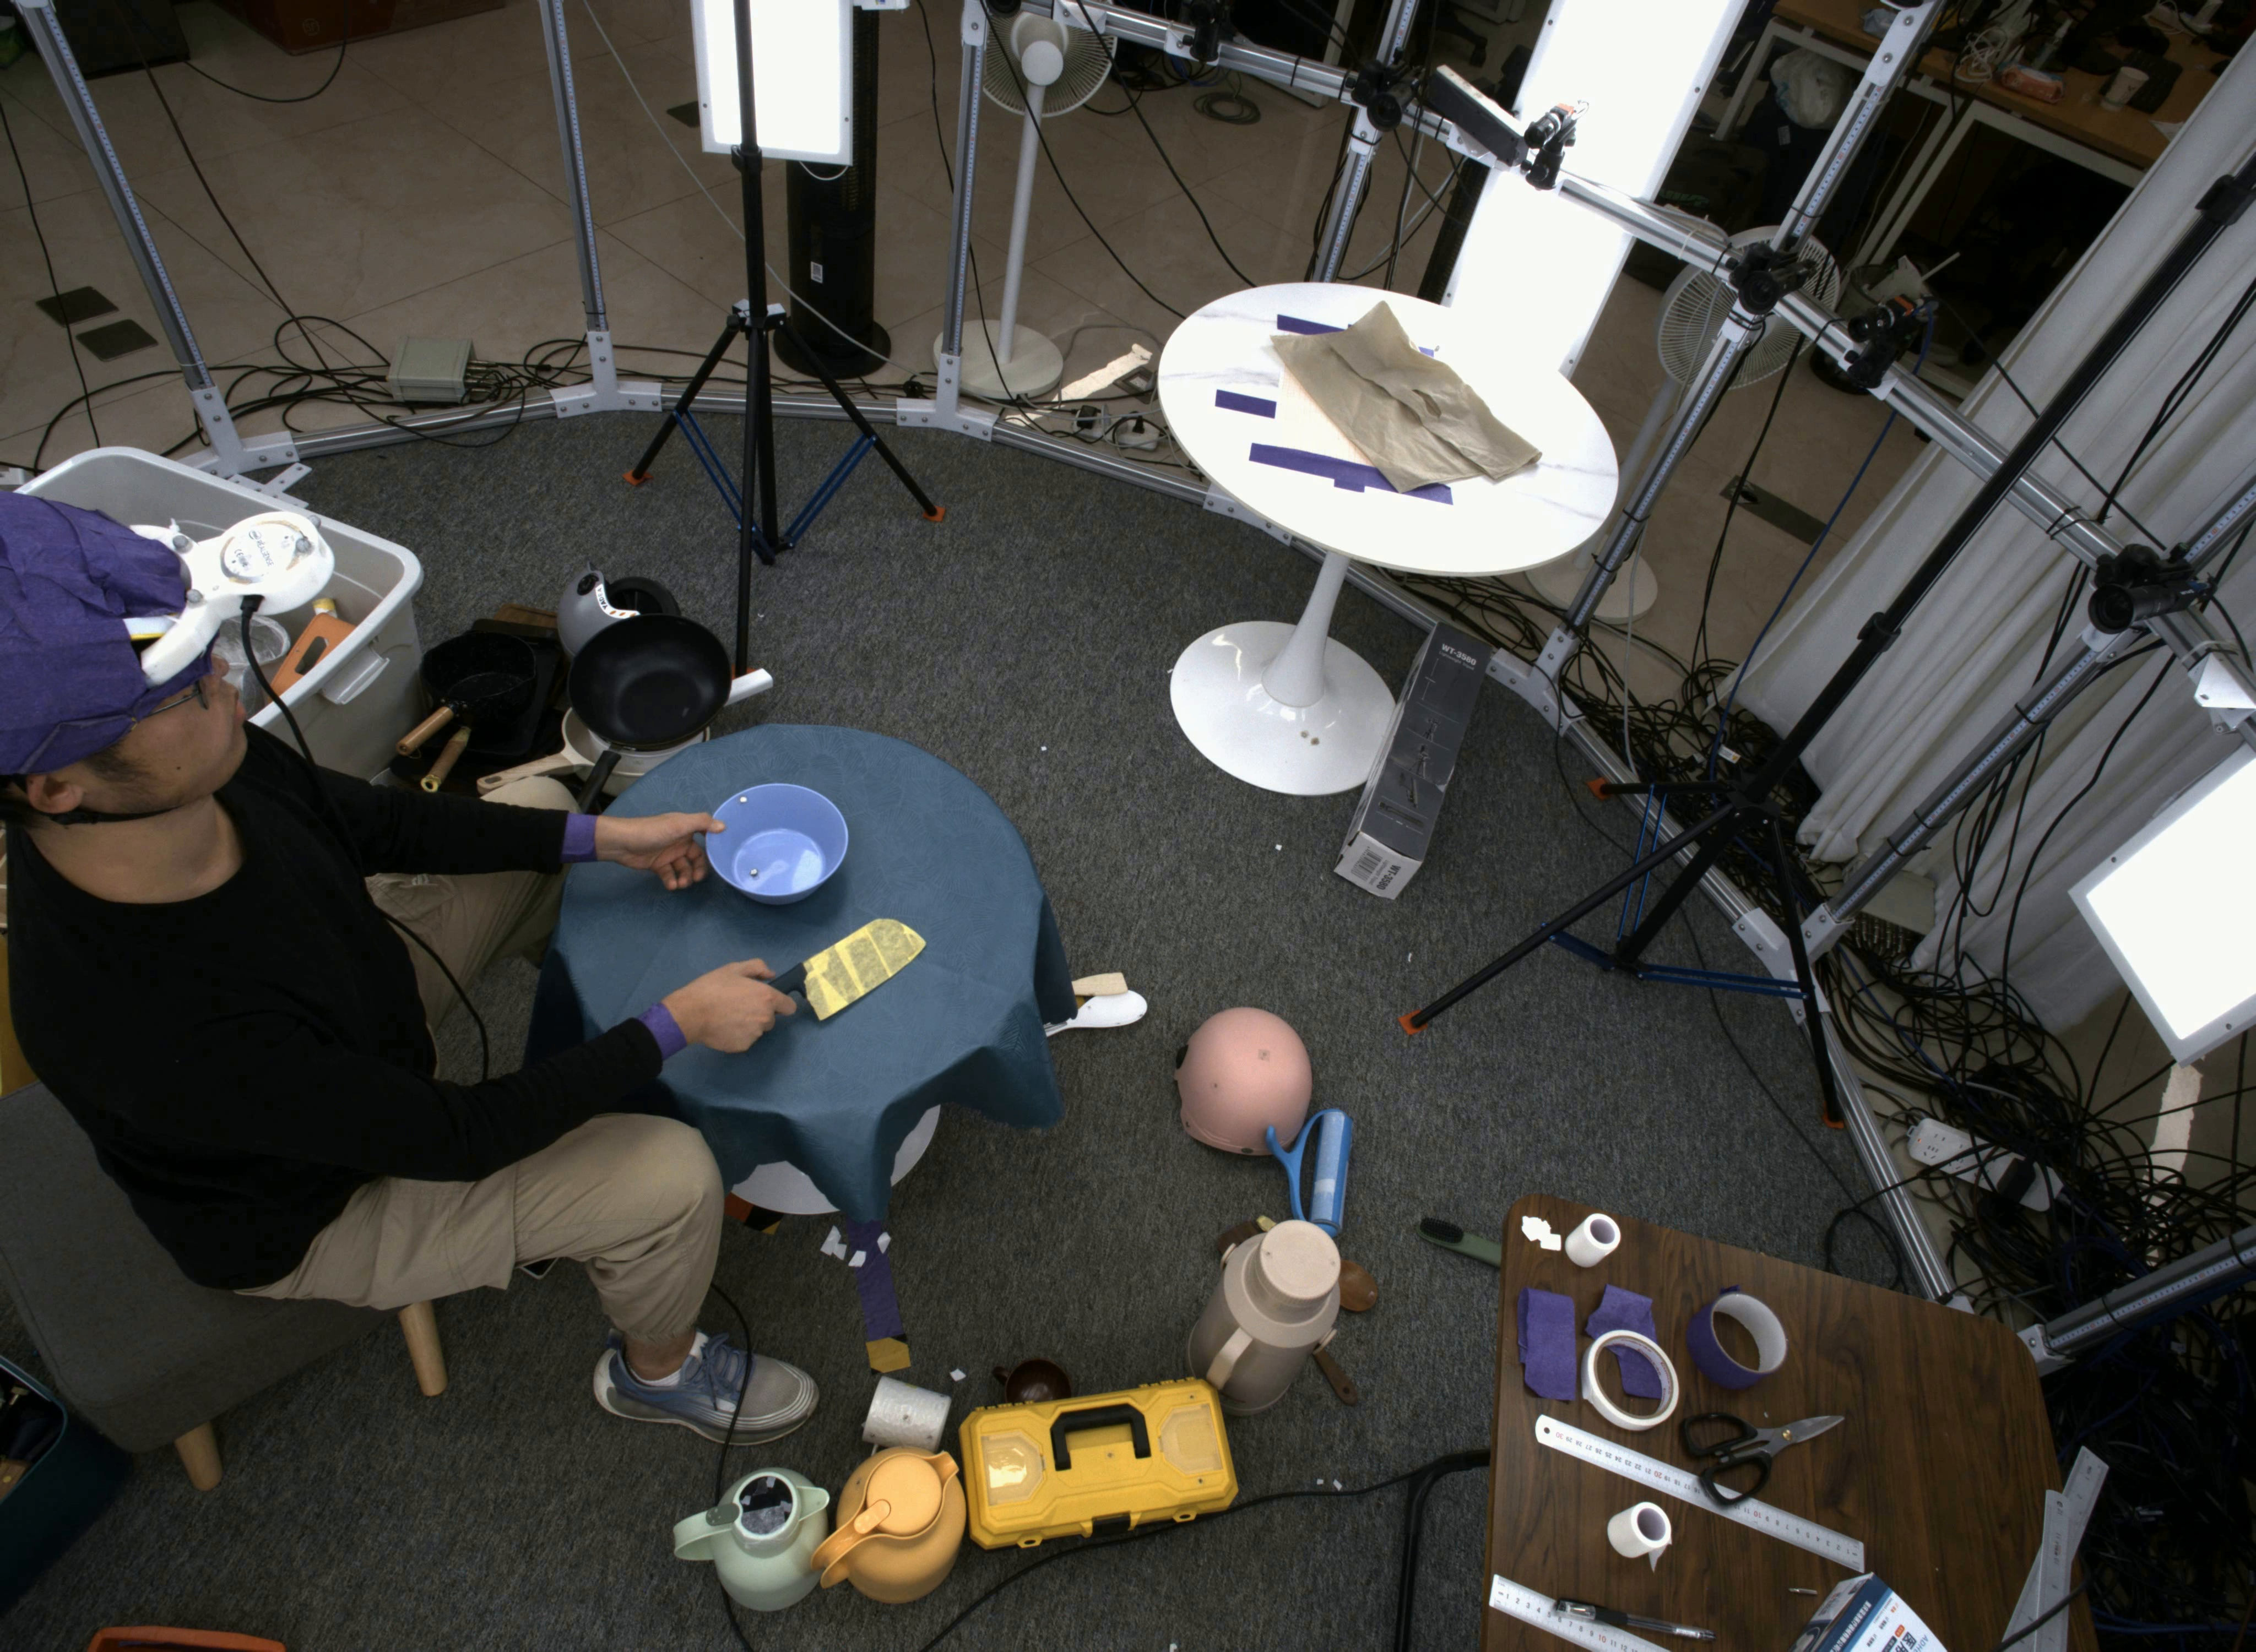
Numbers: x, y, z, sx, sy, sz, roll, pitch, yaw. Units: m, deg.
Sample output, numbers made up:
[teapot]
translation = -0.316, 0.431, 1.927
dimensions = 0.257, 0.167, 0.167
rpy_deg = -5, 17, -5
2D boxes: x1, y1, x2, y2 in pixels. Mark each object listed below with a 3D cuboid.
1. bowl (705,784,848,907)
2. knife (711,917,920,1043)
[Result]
[bowl]
translation = -0.445, 0.034, 1.646
dimensions = 0.176, 0.071, 0.173
rpy_deg = 8, 53, -9
[knife]
translation = -0.366, 0.189, 1.558
dimensions = 0.291, 0.026, 0.082
rpy_deg = -29, 97, -36
